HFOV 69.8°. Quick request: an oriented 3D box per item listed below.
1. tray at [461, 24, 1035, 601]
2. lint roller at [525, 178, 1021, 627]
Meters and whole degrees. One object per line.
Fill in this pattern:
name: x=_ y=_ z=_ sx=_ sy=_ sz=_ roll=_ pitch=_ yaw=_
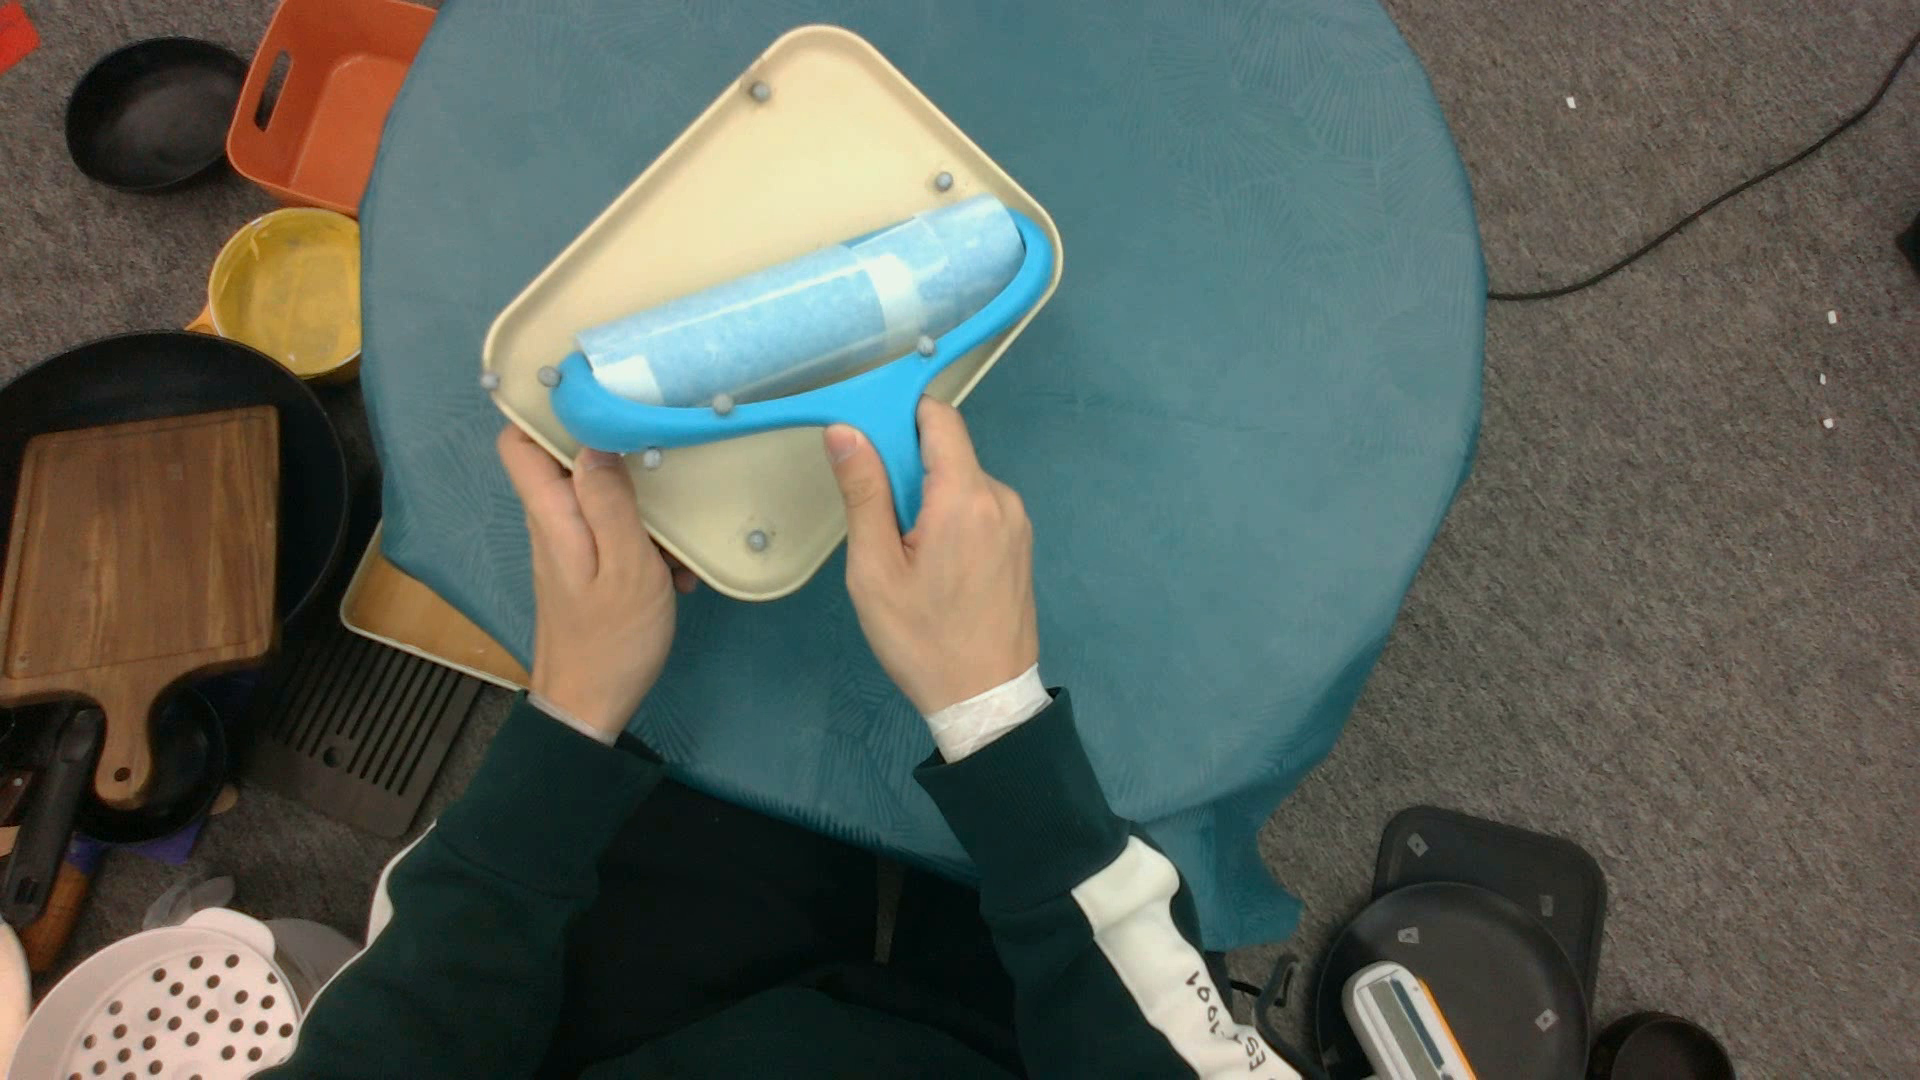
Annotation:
tray: x=-0.087 y=-0.104 z=0.617 sx=0.171 sy=0.017 sz=0.240 roll=40 pitch=73 yaw=-8
lint roller: x=-0.046 y=-0.051 z=0.584 sx=0.229 sy=0.067 sz=0.180 roll=-28 pitch=77 yaw=-21
